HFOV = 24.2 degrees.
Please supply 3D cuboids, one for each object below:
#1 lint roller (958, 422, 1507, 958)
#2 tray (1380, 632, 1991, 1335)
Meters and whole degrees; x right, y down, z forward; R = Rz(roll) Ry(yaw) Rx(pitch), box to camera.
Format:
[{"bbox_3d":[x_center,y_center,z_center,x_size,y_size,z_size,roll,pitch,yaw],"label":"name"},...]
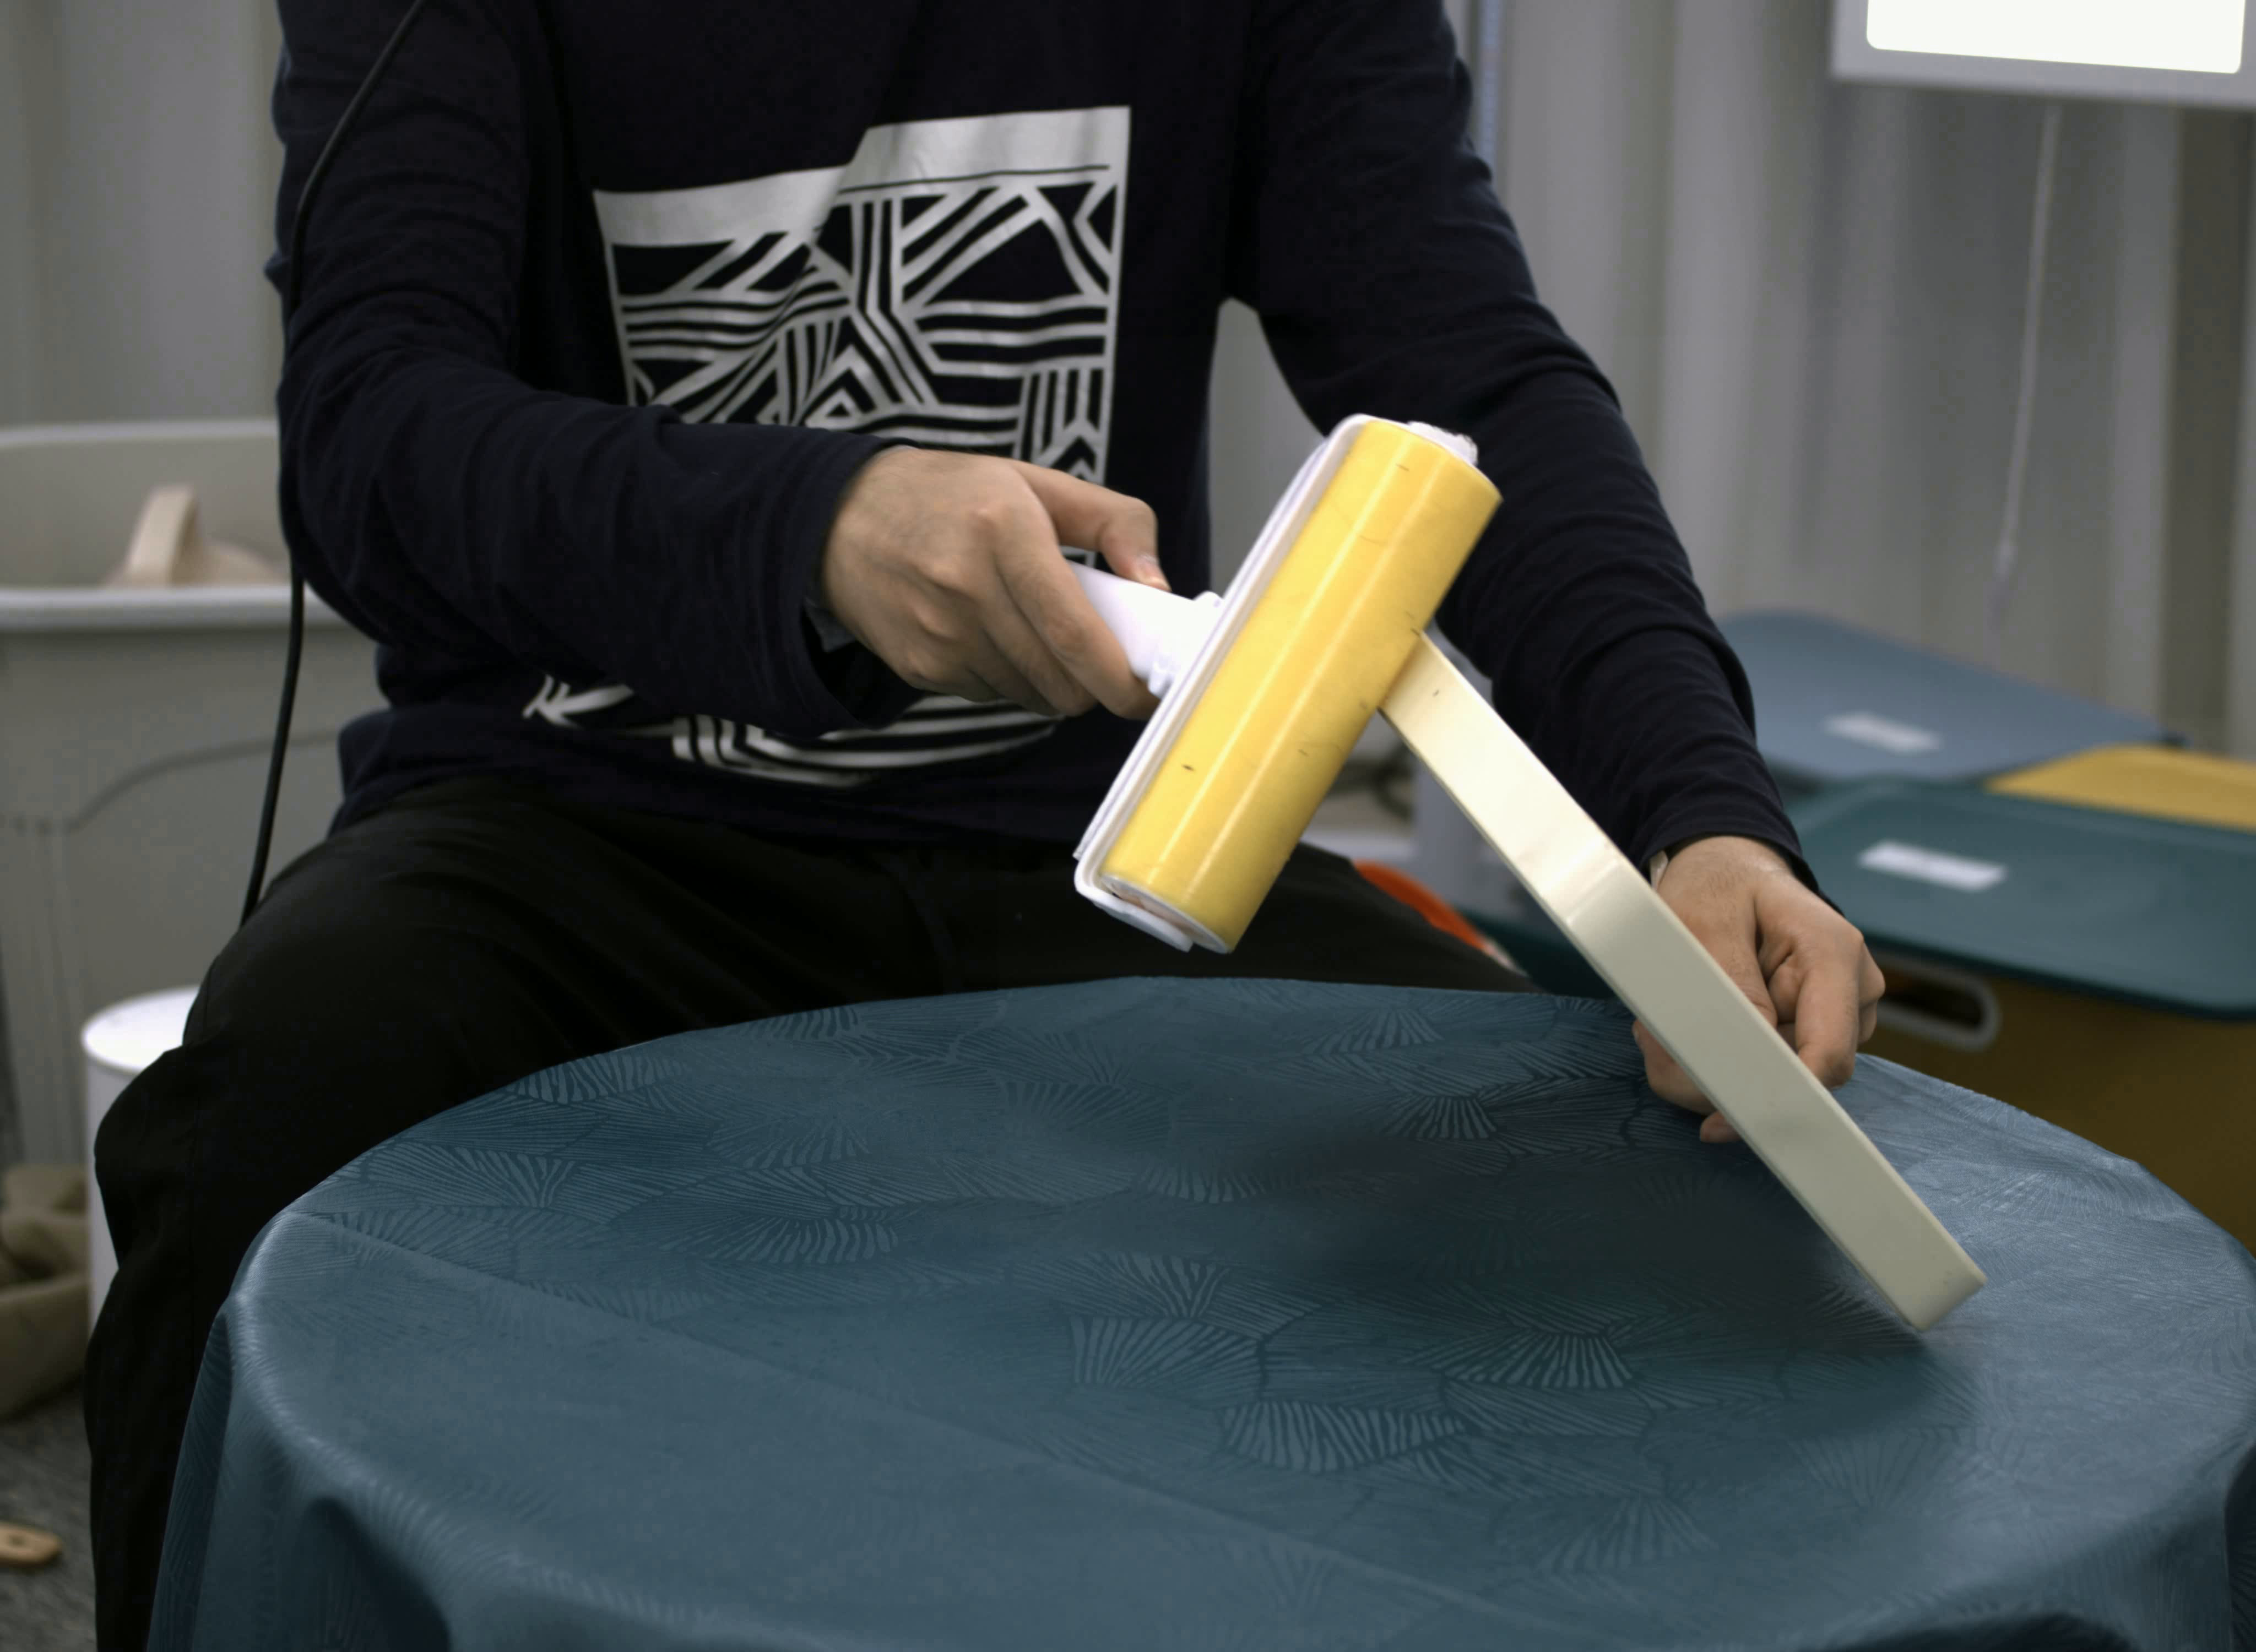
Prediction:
[{"bbox_3d":[0.005,-0.059,1.614,0.189,0.174,0.052,22,-13,41],"label":"lint roller"},{"bbox_3d":[0.148,0.029,1.588,0.027,0.194,0.297,-41,25,3],"label":"tray"}]
